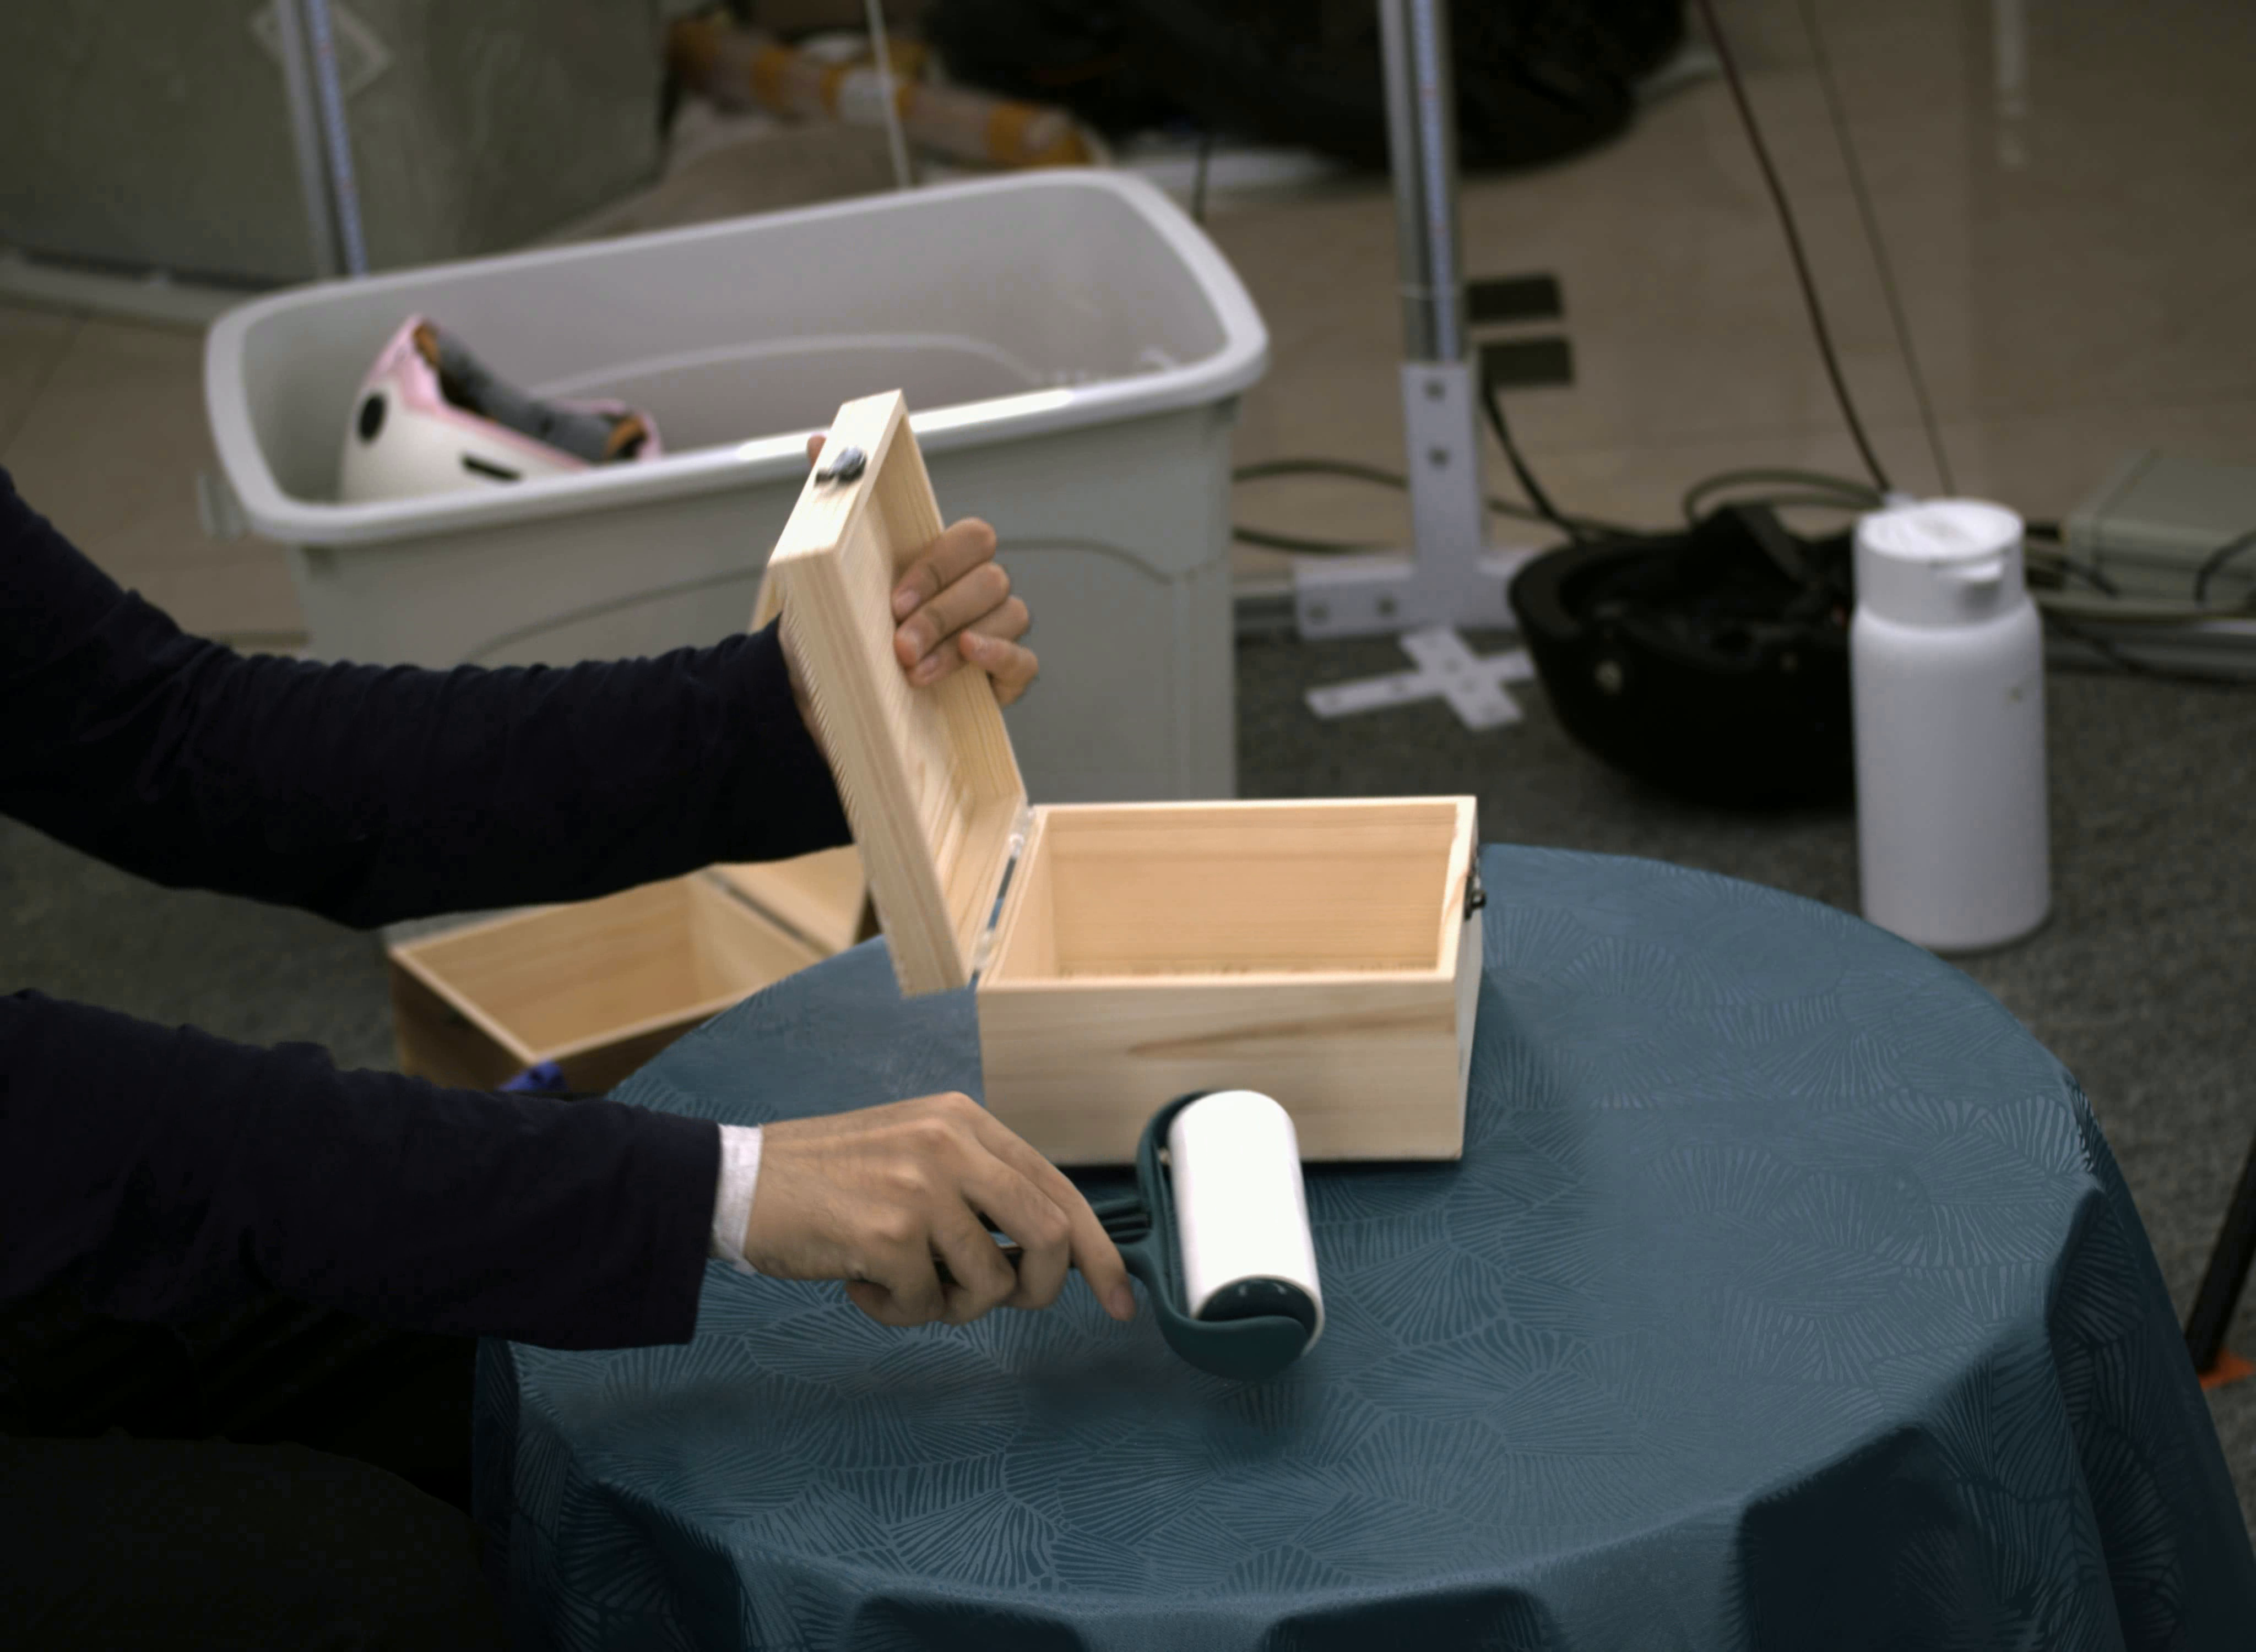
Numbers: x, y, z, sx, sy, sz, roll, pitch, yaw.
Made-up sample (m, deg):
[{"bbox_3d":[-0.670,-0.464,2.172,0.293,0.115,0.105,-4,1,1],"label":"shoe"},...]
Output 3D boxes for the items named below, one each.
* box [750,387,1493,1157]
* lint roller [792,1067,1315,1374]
[{"bbox_3d":[0.007,-0.026,2.177,0.264,0.257,0.179,-1,23,5],"label":"box"},{"bbox_3d":[-0.029,0.140,2.008,0.180,0.049,0.132,0,39,-7],"label":"lint roller"}]
